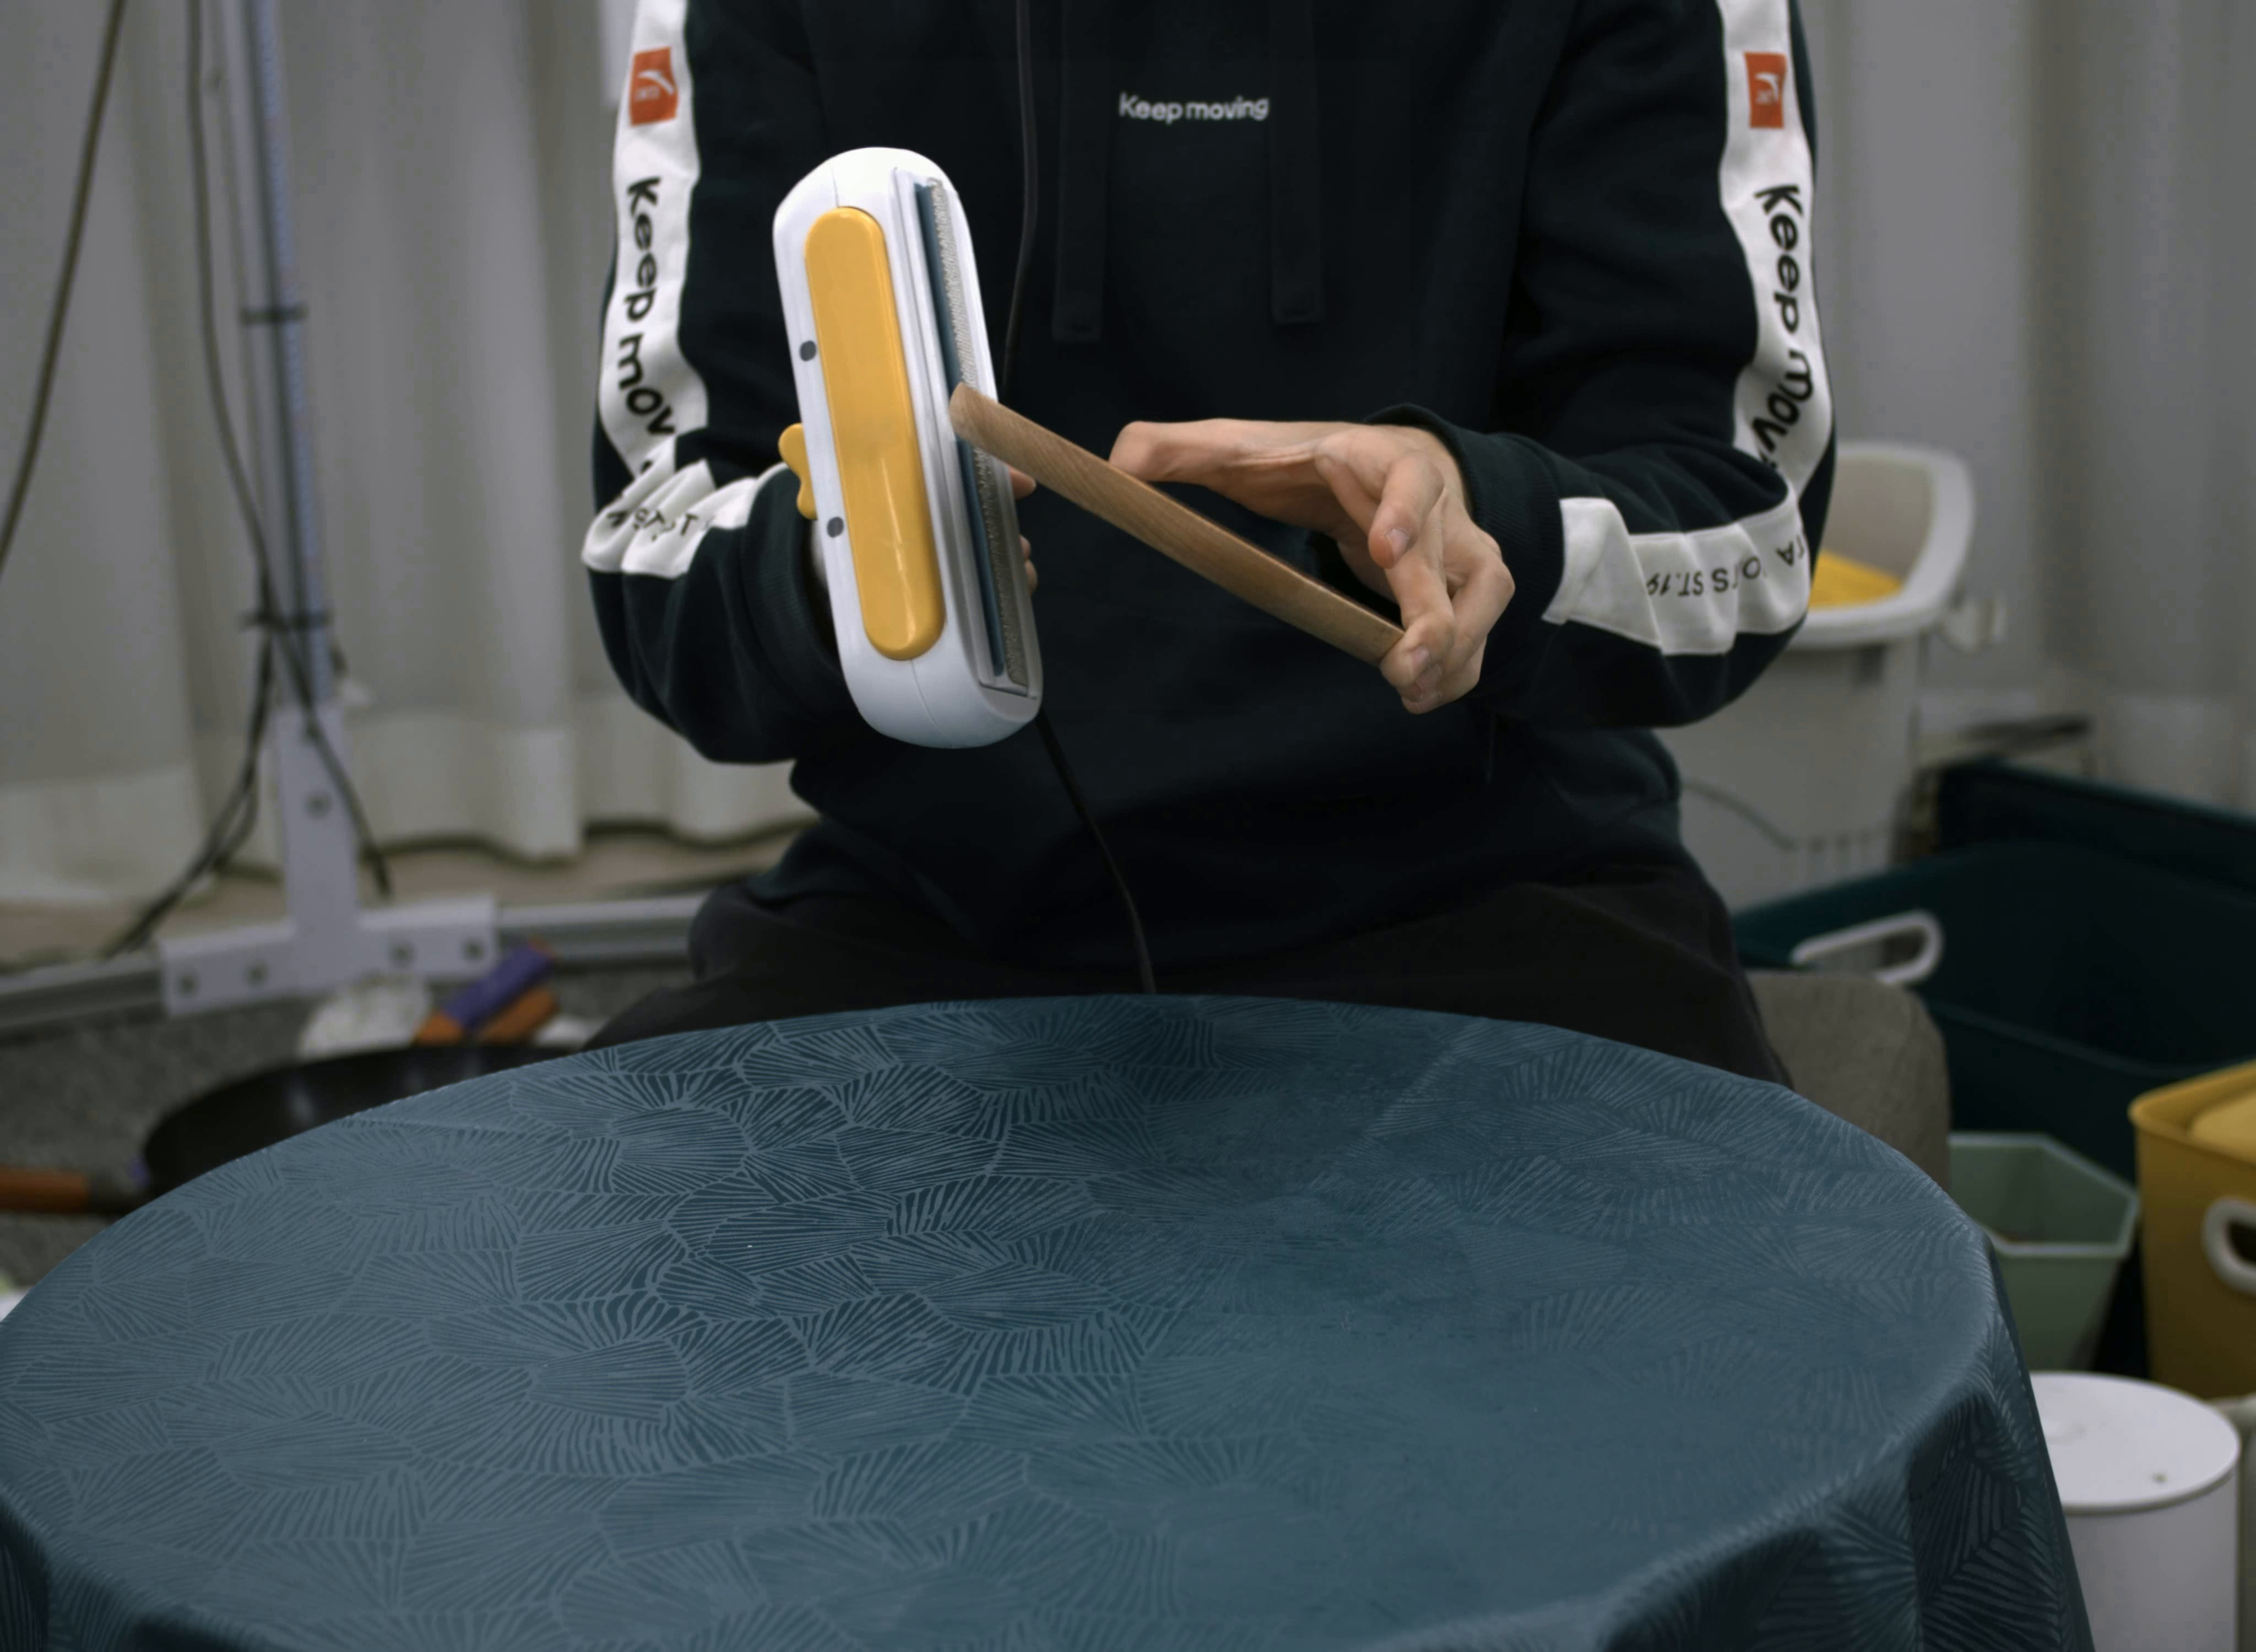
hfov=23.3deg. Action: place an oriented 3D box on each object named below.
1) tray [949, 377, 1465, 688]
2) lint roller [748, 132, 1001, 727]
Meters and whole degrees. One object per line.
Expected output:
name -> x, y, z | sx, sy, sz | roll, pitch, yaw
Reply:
tray -> 0.027, -0.090, 1.739 | 0.131, 0.023, 0.249 | 34, 4, 18
lint roller -> -0.076, -0.109, 1.789 | 0.074, 0.195, 0.191 | -13, -17, 4
